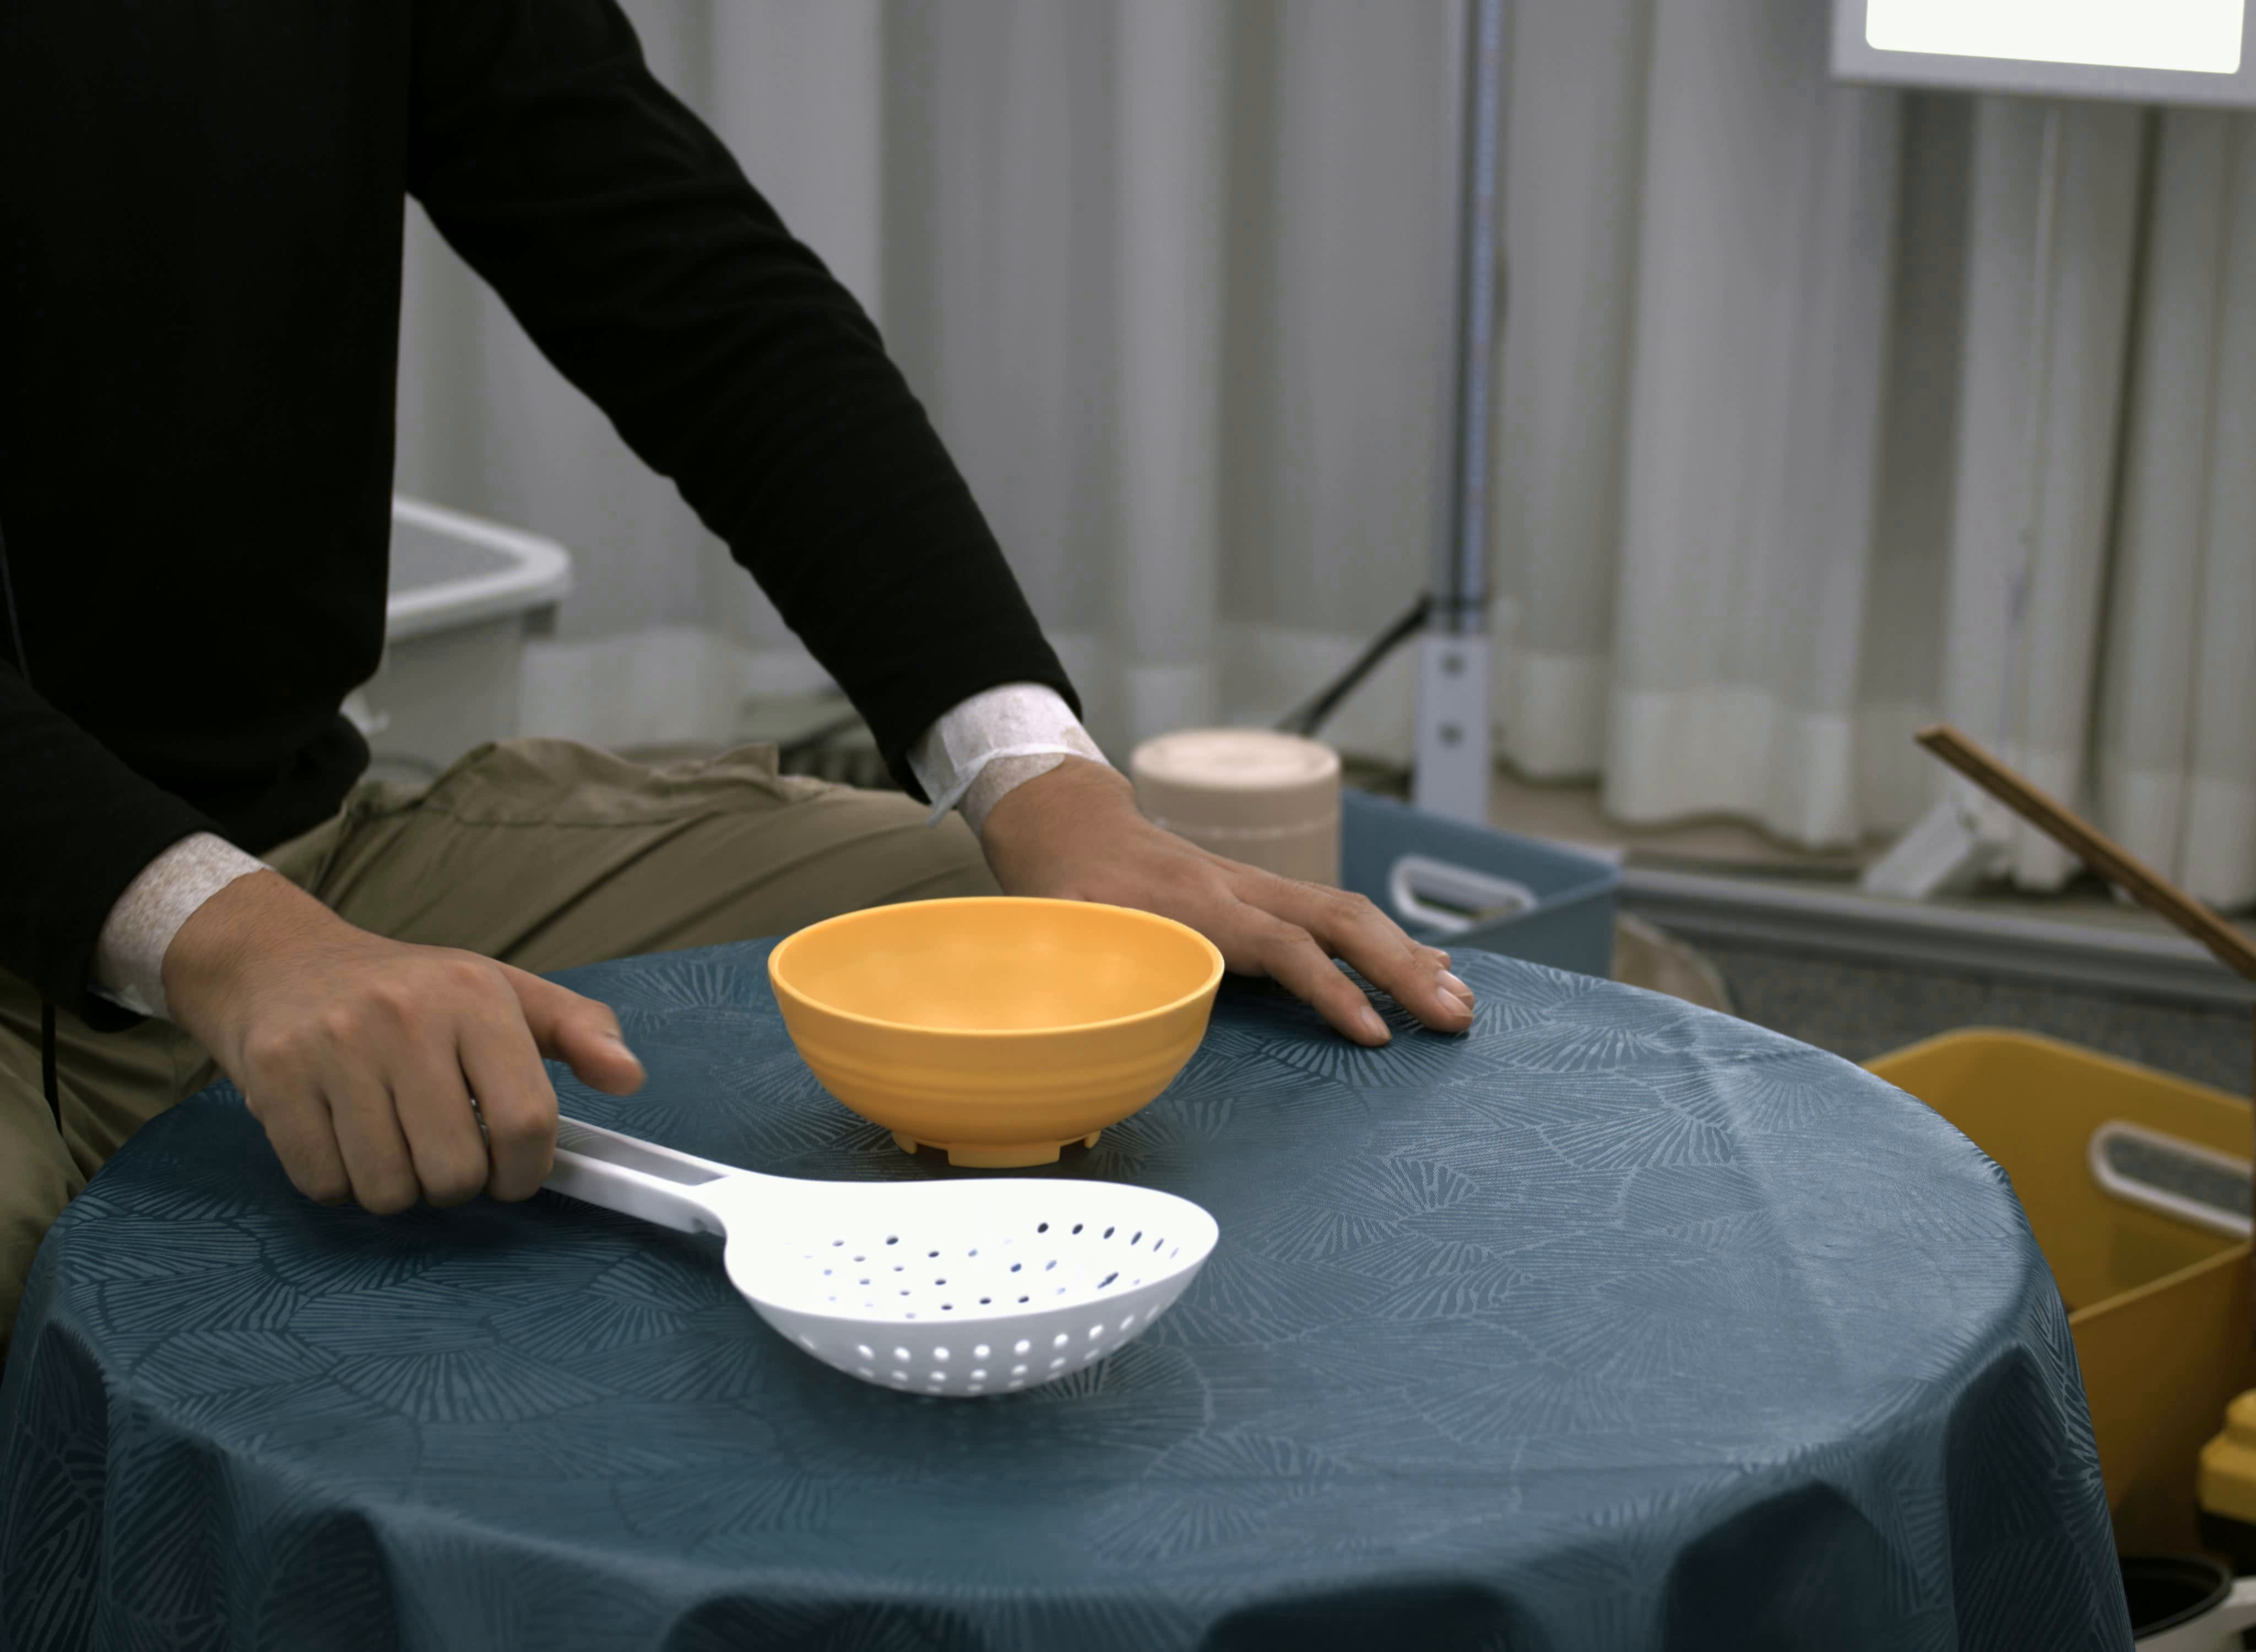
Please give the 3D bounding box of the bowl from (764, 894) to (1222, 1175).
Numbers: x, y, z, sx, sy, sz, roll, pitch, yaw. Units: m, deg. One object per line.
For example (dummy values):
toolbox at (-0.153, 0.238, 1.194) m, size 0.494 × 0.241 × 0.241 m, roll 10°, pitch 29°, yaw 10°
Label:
bowl at (-0.043, 0.071, 1.665) m, size 0.145 × 0.060 × 0.144 m, roll 2°, pitch 17°, yaw 0°

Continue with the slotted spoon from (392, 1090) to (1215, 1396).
slotted spoon at (-0.112, 0.111, 1.535) m, size 0.136 × 0.046 × 0.345 m, roll -14°, pitch 20°, yaw -39°
